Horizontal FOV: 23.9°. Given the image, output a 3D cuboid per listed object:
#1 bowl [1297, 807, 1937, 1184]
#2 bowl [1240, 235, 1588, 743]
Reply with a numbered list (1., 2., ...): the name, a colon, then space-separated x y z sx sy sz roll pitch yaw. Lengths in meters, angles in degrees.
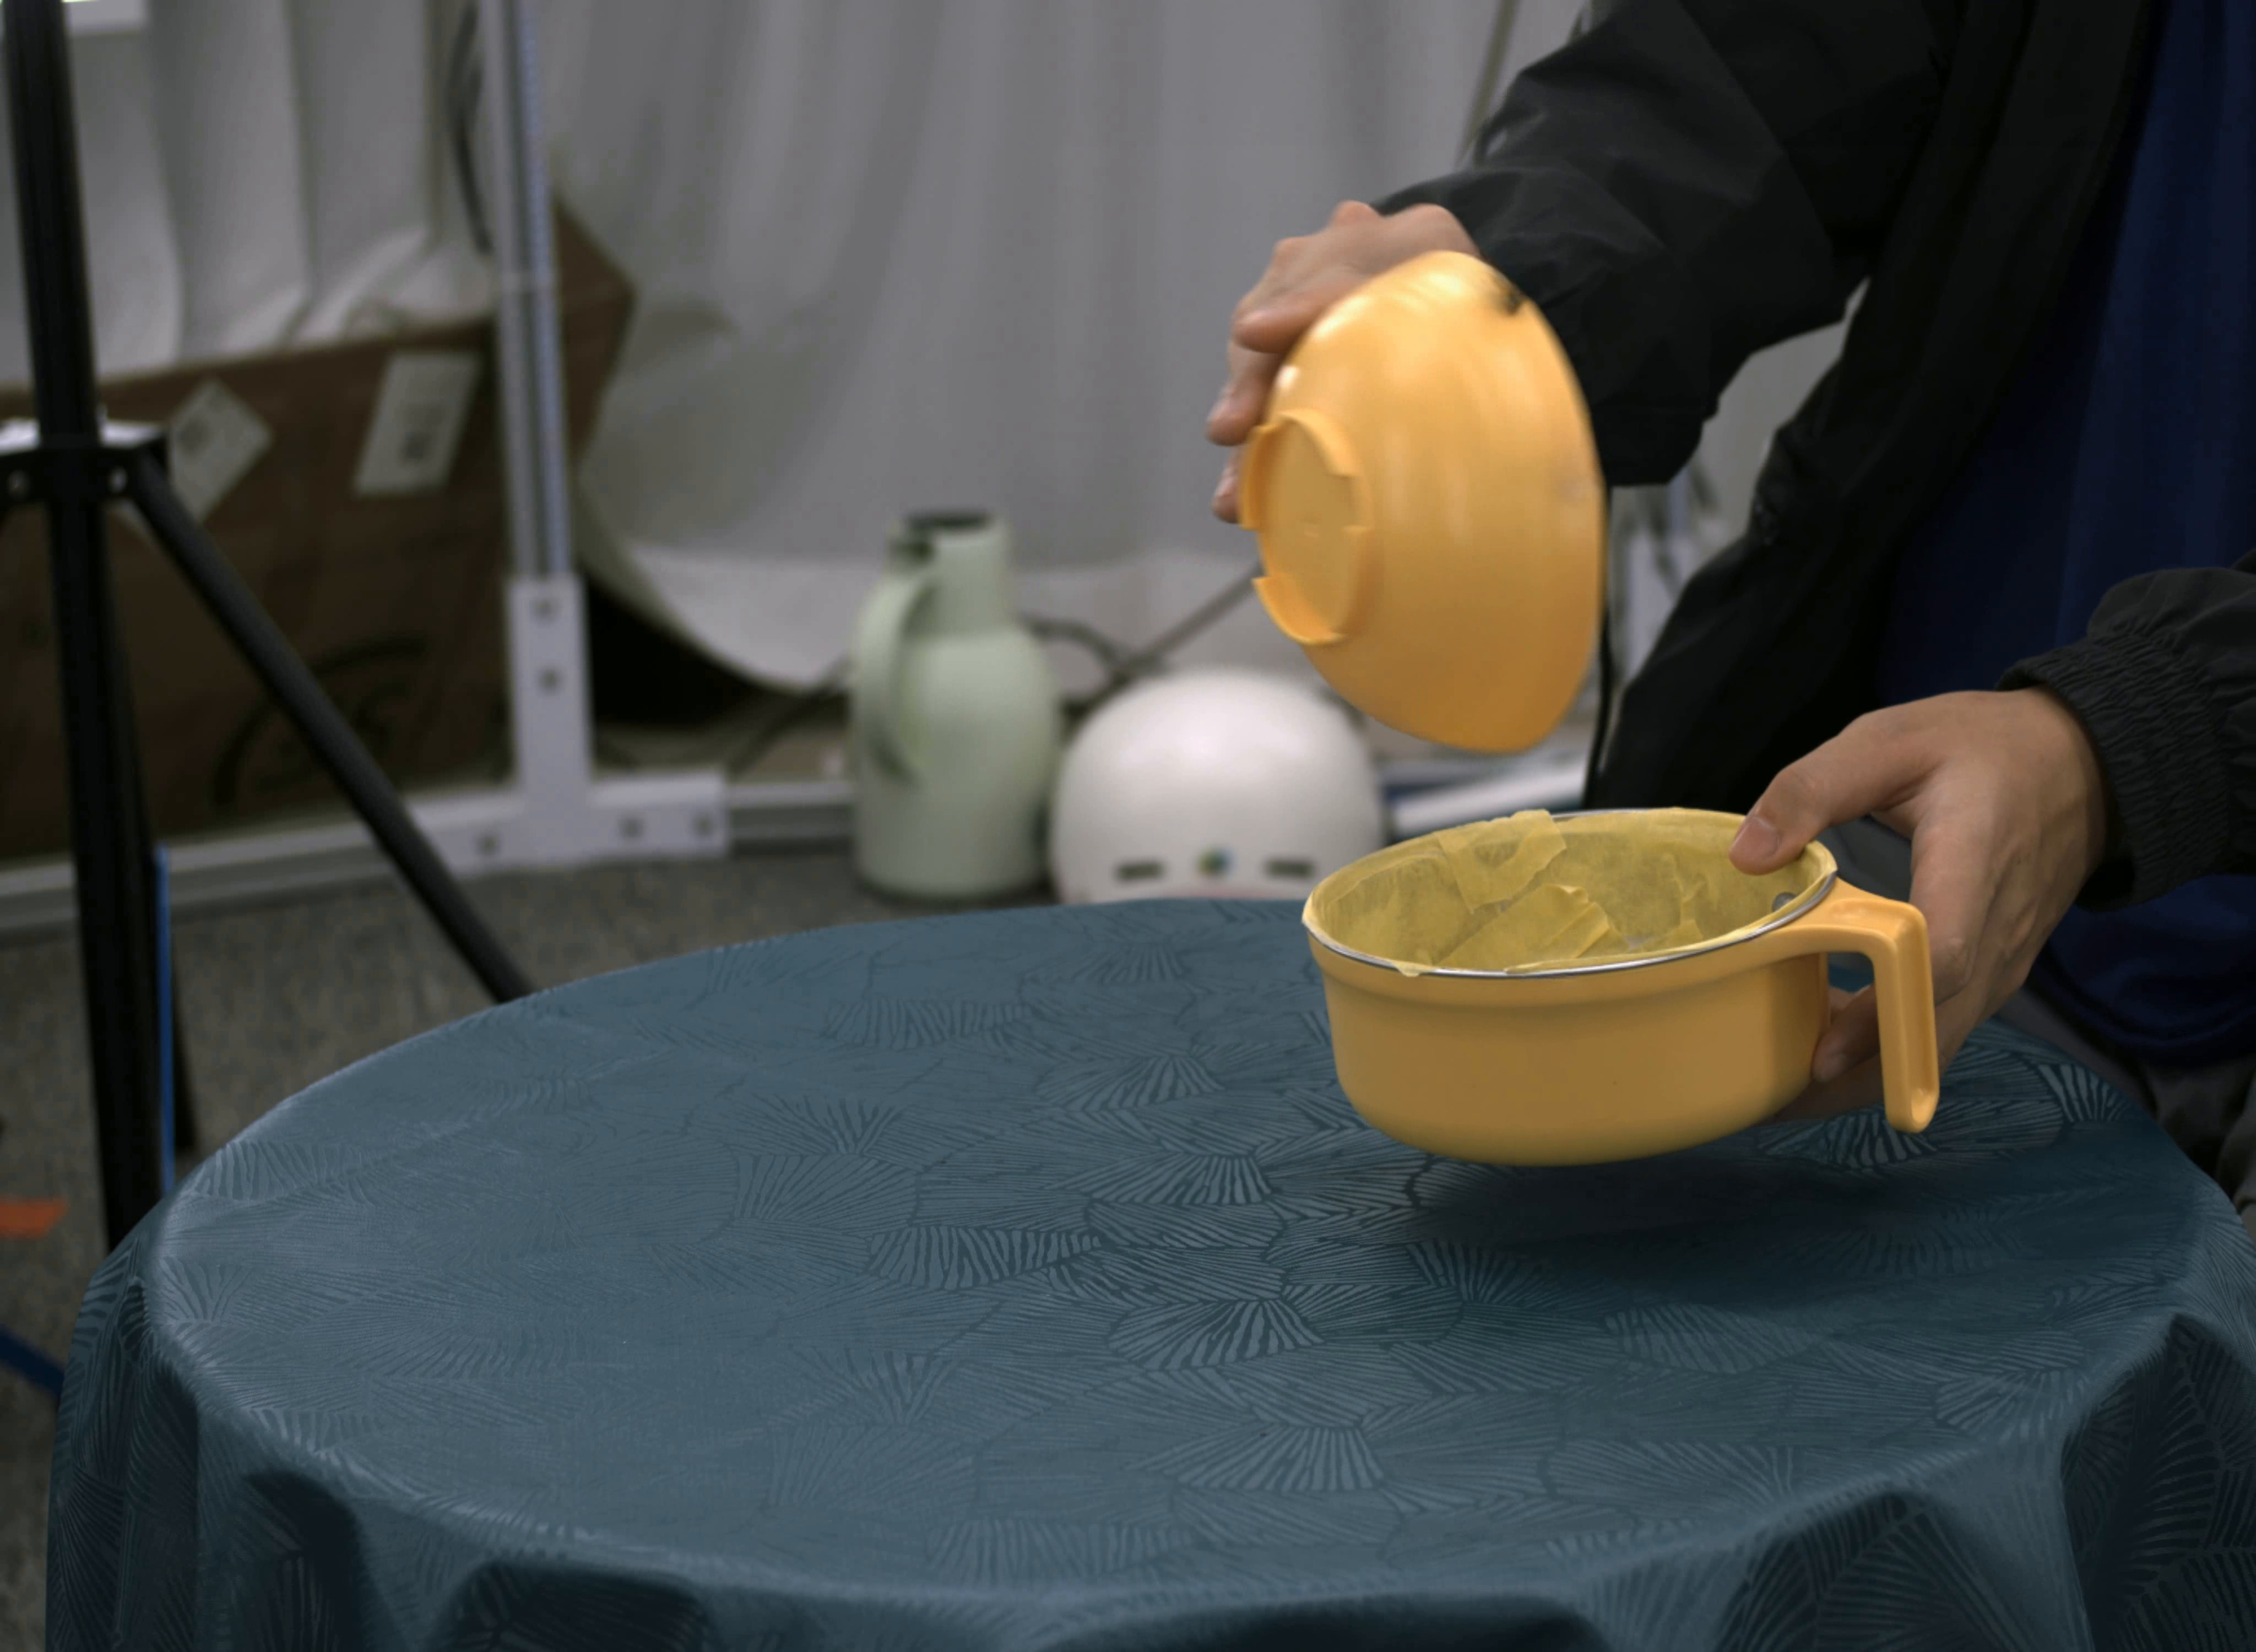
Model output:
1. bowl: 0.139 0.051 1.502 0.182 0.074 0.151 0 16 26
2. bowl: 0.072 -0.091 1.507 0.059 0.145 0.148 -10 17 -22
